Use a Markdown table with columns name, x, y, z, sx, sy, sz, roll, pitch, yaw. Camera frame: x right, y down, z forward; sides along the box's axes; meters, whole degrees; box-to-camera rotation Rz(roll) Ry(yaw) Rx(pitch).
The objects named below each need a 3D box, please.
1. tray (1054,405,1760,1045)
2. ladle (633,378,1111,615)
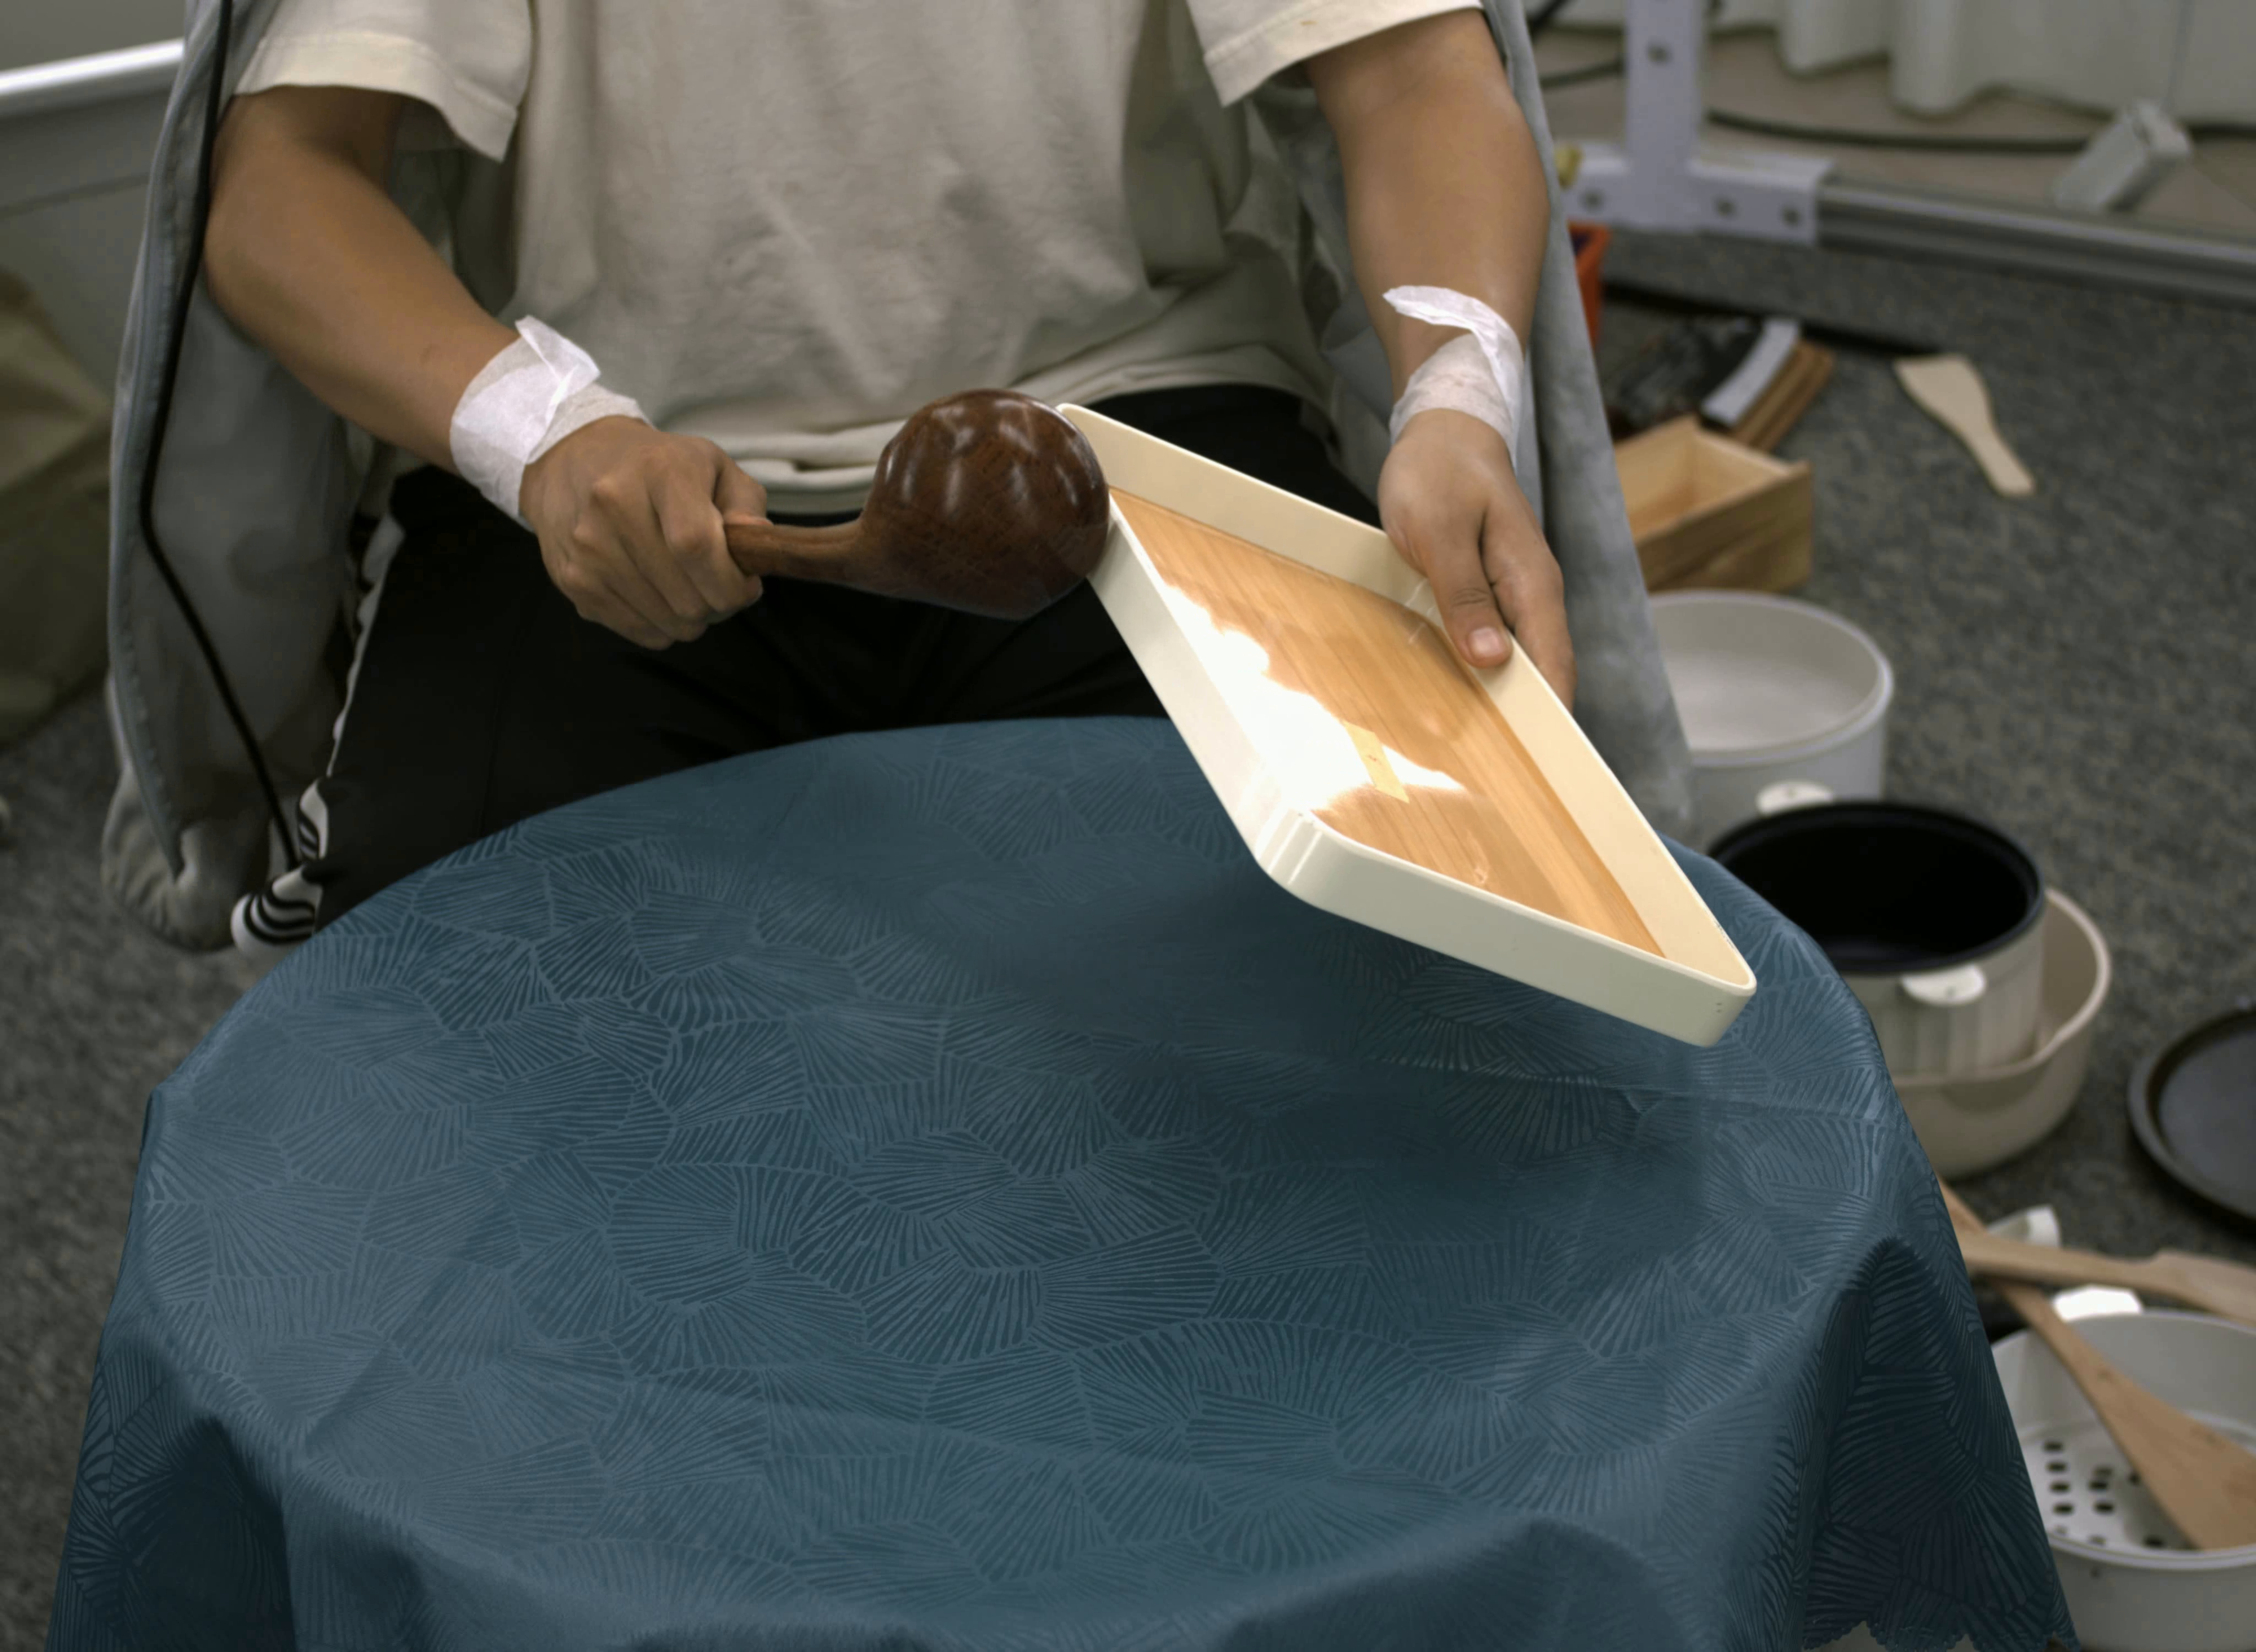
| name | x | y | z | sx | sy | sz | roll | pitch | yaw |
| --- | --- | --- | --- | --- | --- | --- | --- | --- | --- |
| tray | 0.085 | -0.038 | 1.913 | 0.191 | 0.027 | 0.304 | 21 | 22 | -29 |
| ladle | -0.094 | -0.110 | 1.993 | 0.077 | 0.081 | 0.272 | -32 | 14 | -23 |
